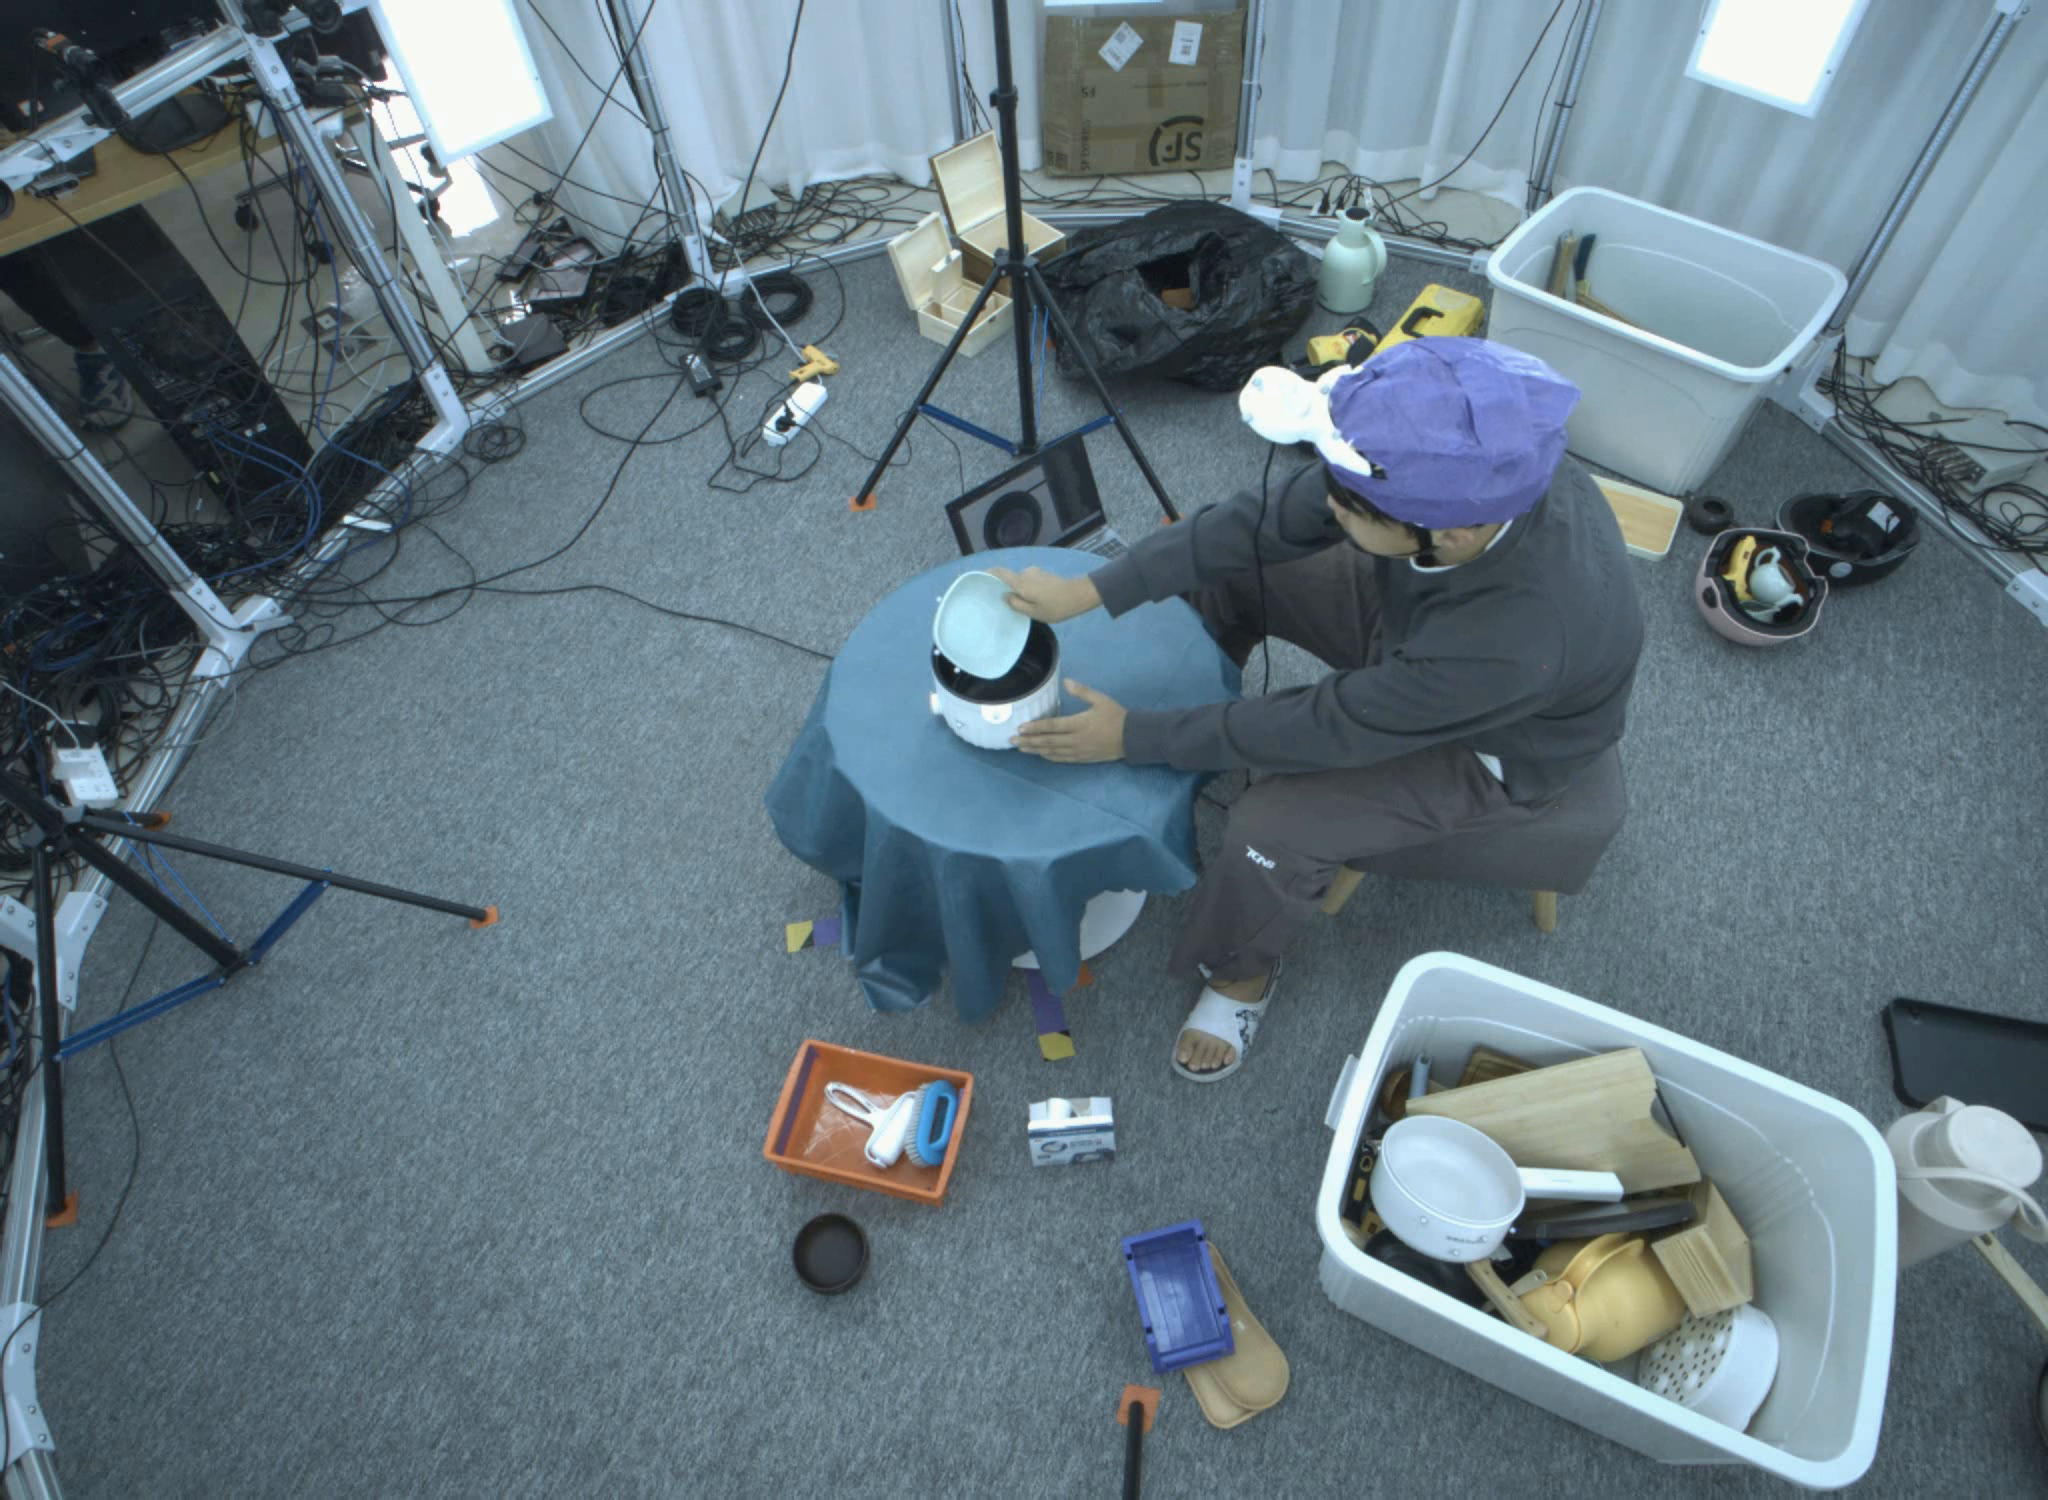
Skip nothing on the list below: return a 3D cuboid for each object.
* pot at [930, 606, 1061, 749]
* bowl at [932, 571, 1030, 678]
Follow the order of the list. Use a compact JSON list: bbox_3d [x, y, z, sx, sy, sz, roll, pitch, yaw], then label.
[{"bbox_3d":[-0.042,-0.096,1.770,0.191,0.144,0.237,-3,53,-4],"label":"pot"},{"bbox_3d":[-0.070,-0.175,1.721,0.152,0.153,0.057,-39,23,-22],"label":"bowl"}]
